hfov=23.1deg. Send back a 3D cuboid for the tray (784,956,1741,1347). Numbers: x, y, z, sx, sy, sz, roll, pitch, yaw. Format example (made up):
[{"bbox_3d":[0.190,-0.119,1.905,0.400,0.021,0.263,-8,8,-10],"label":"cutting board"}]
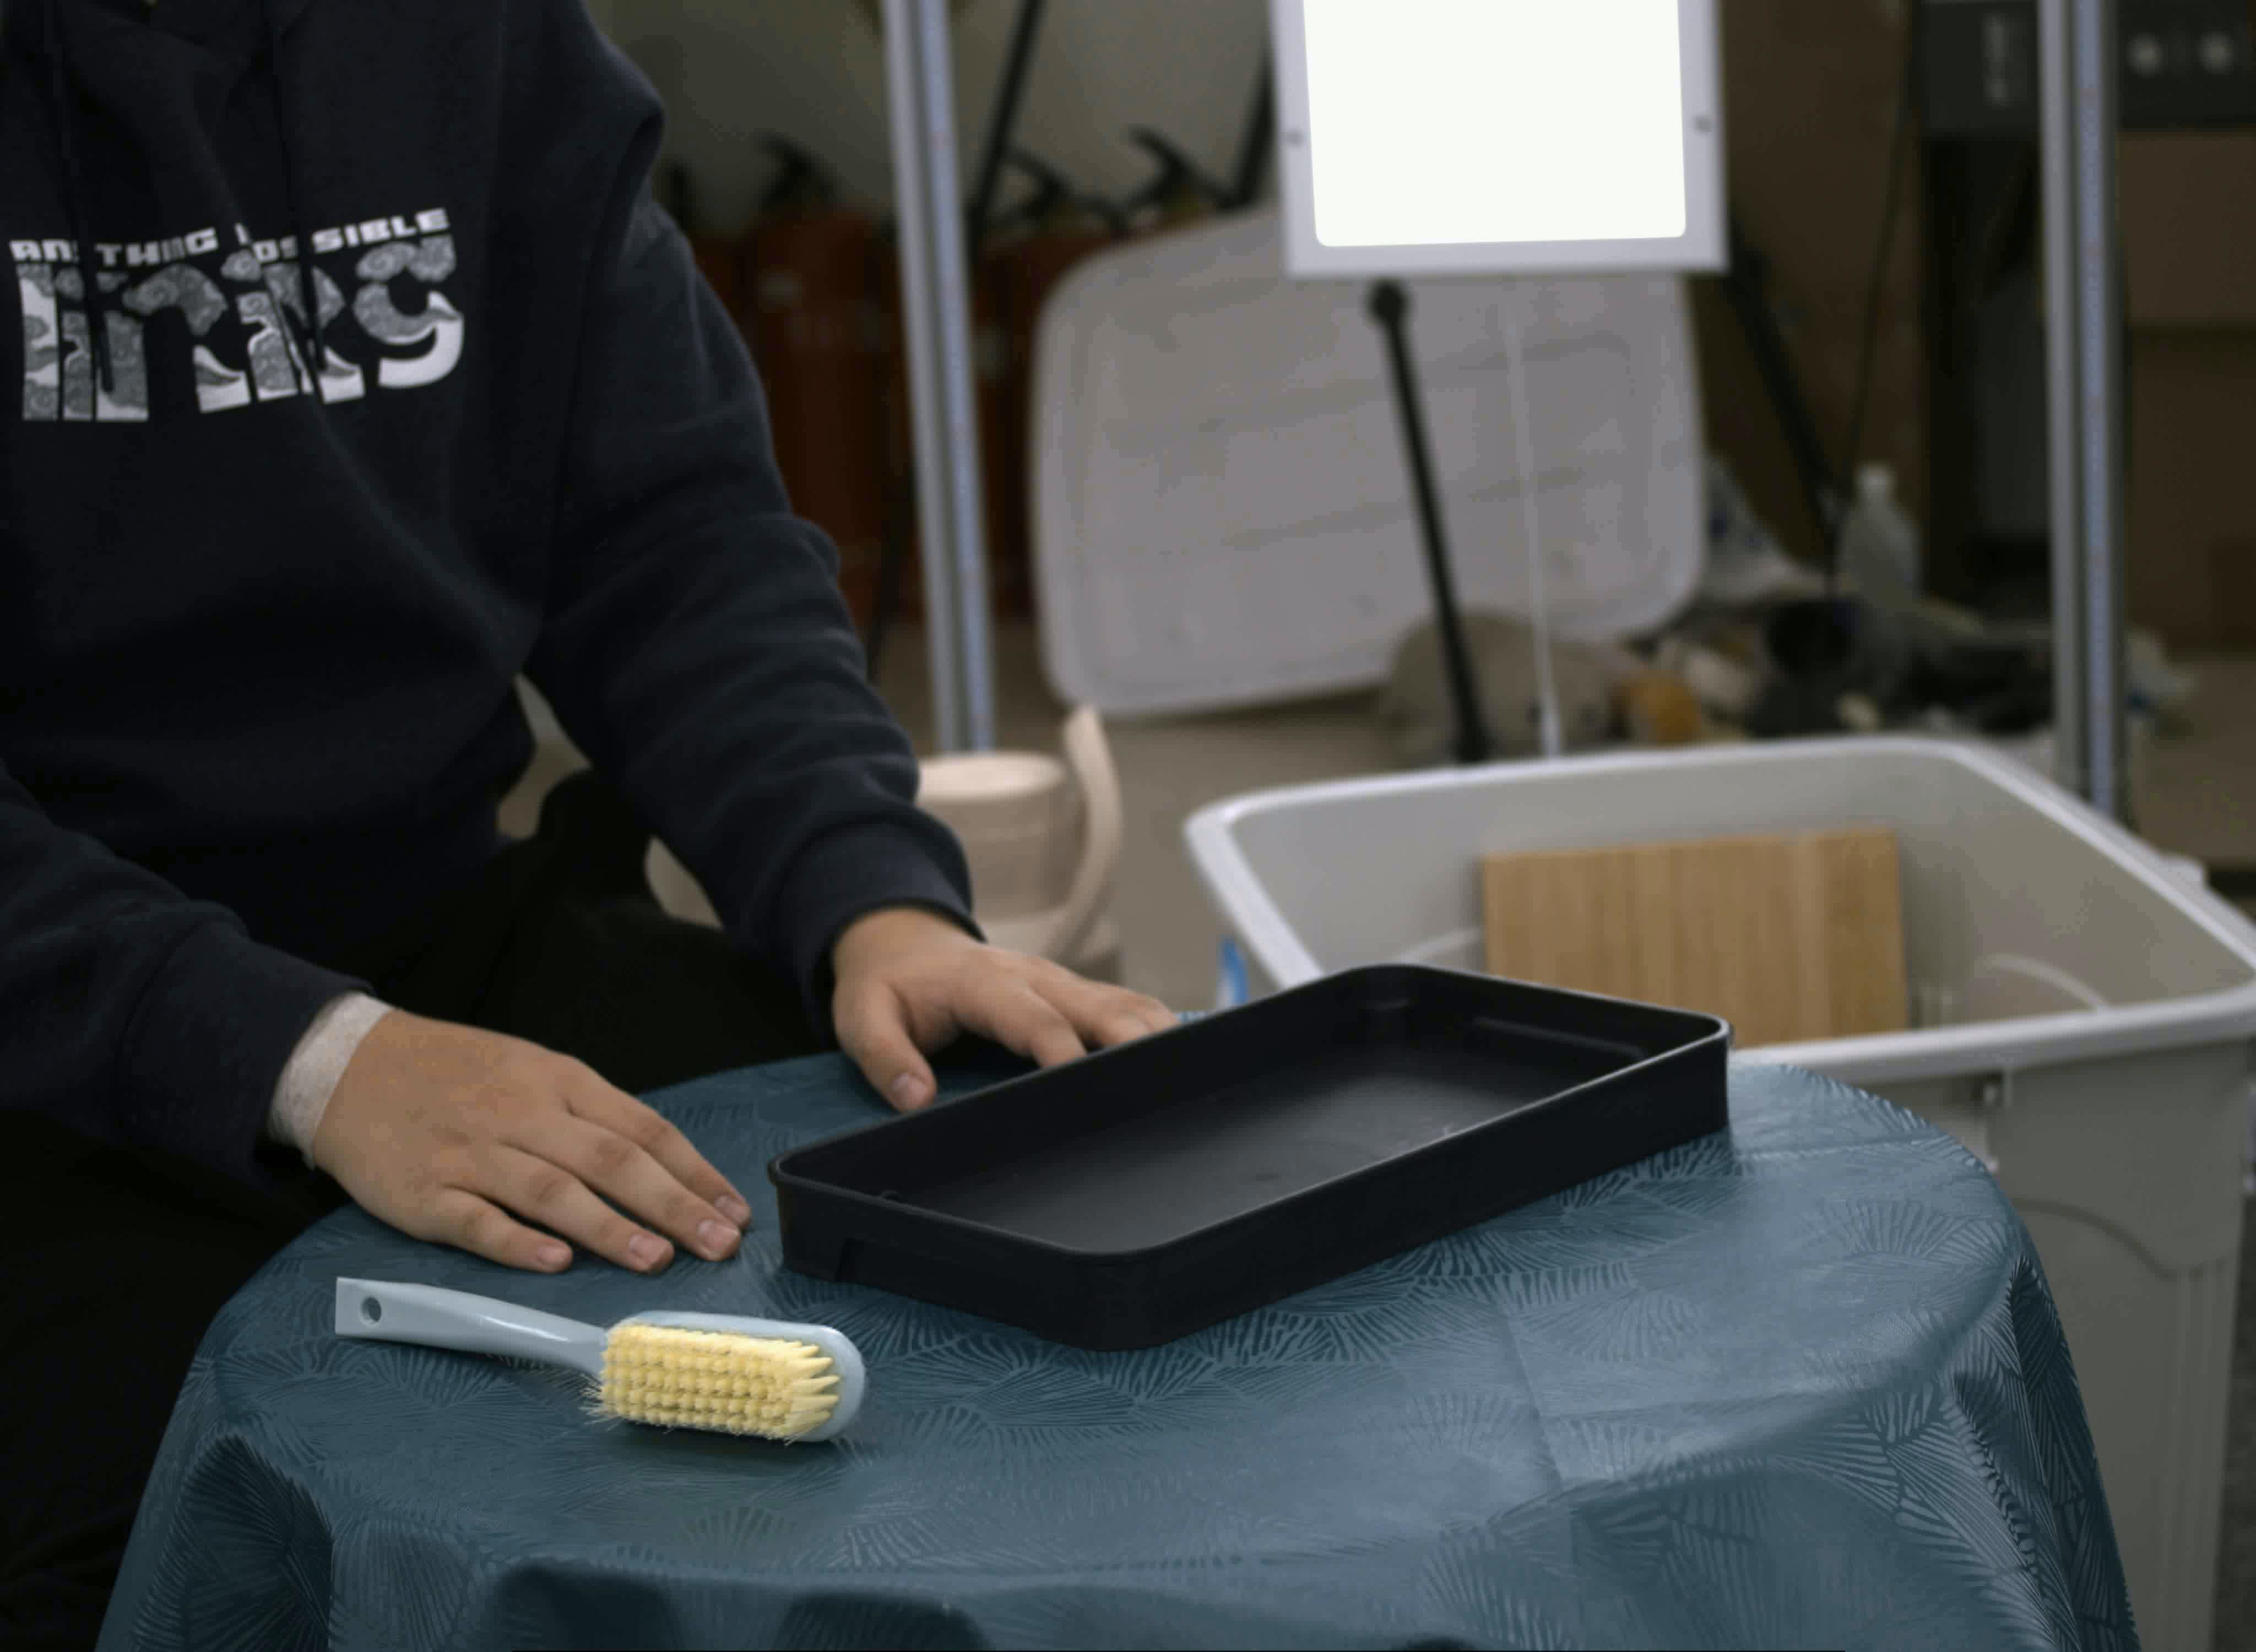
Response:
[{"bbox_3d":[0.051,0.106,1.889,0.310,0.037,0.188,-18,18,-42],"label":"tray"}]

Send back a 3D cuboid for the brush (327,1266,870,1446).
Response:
[{"bbox_3d":[-0.177,0.162,1.733,0.234,0.038,0.048,8,11,42],"label":"brush"}]
